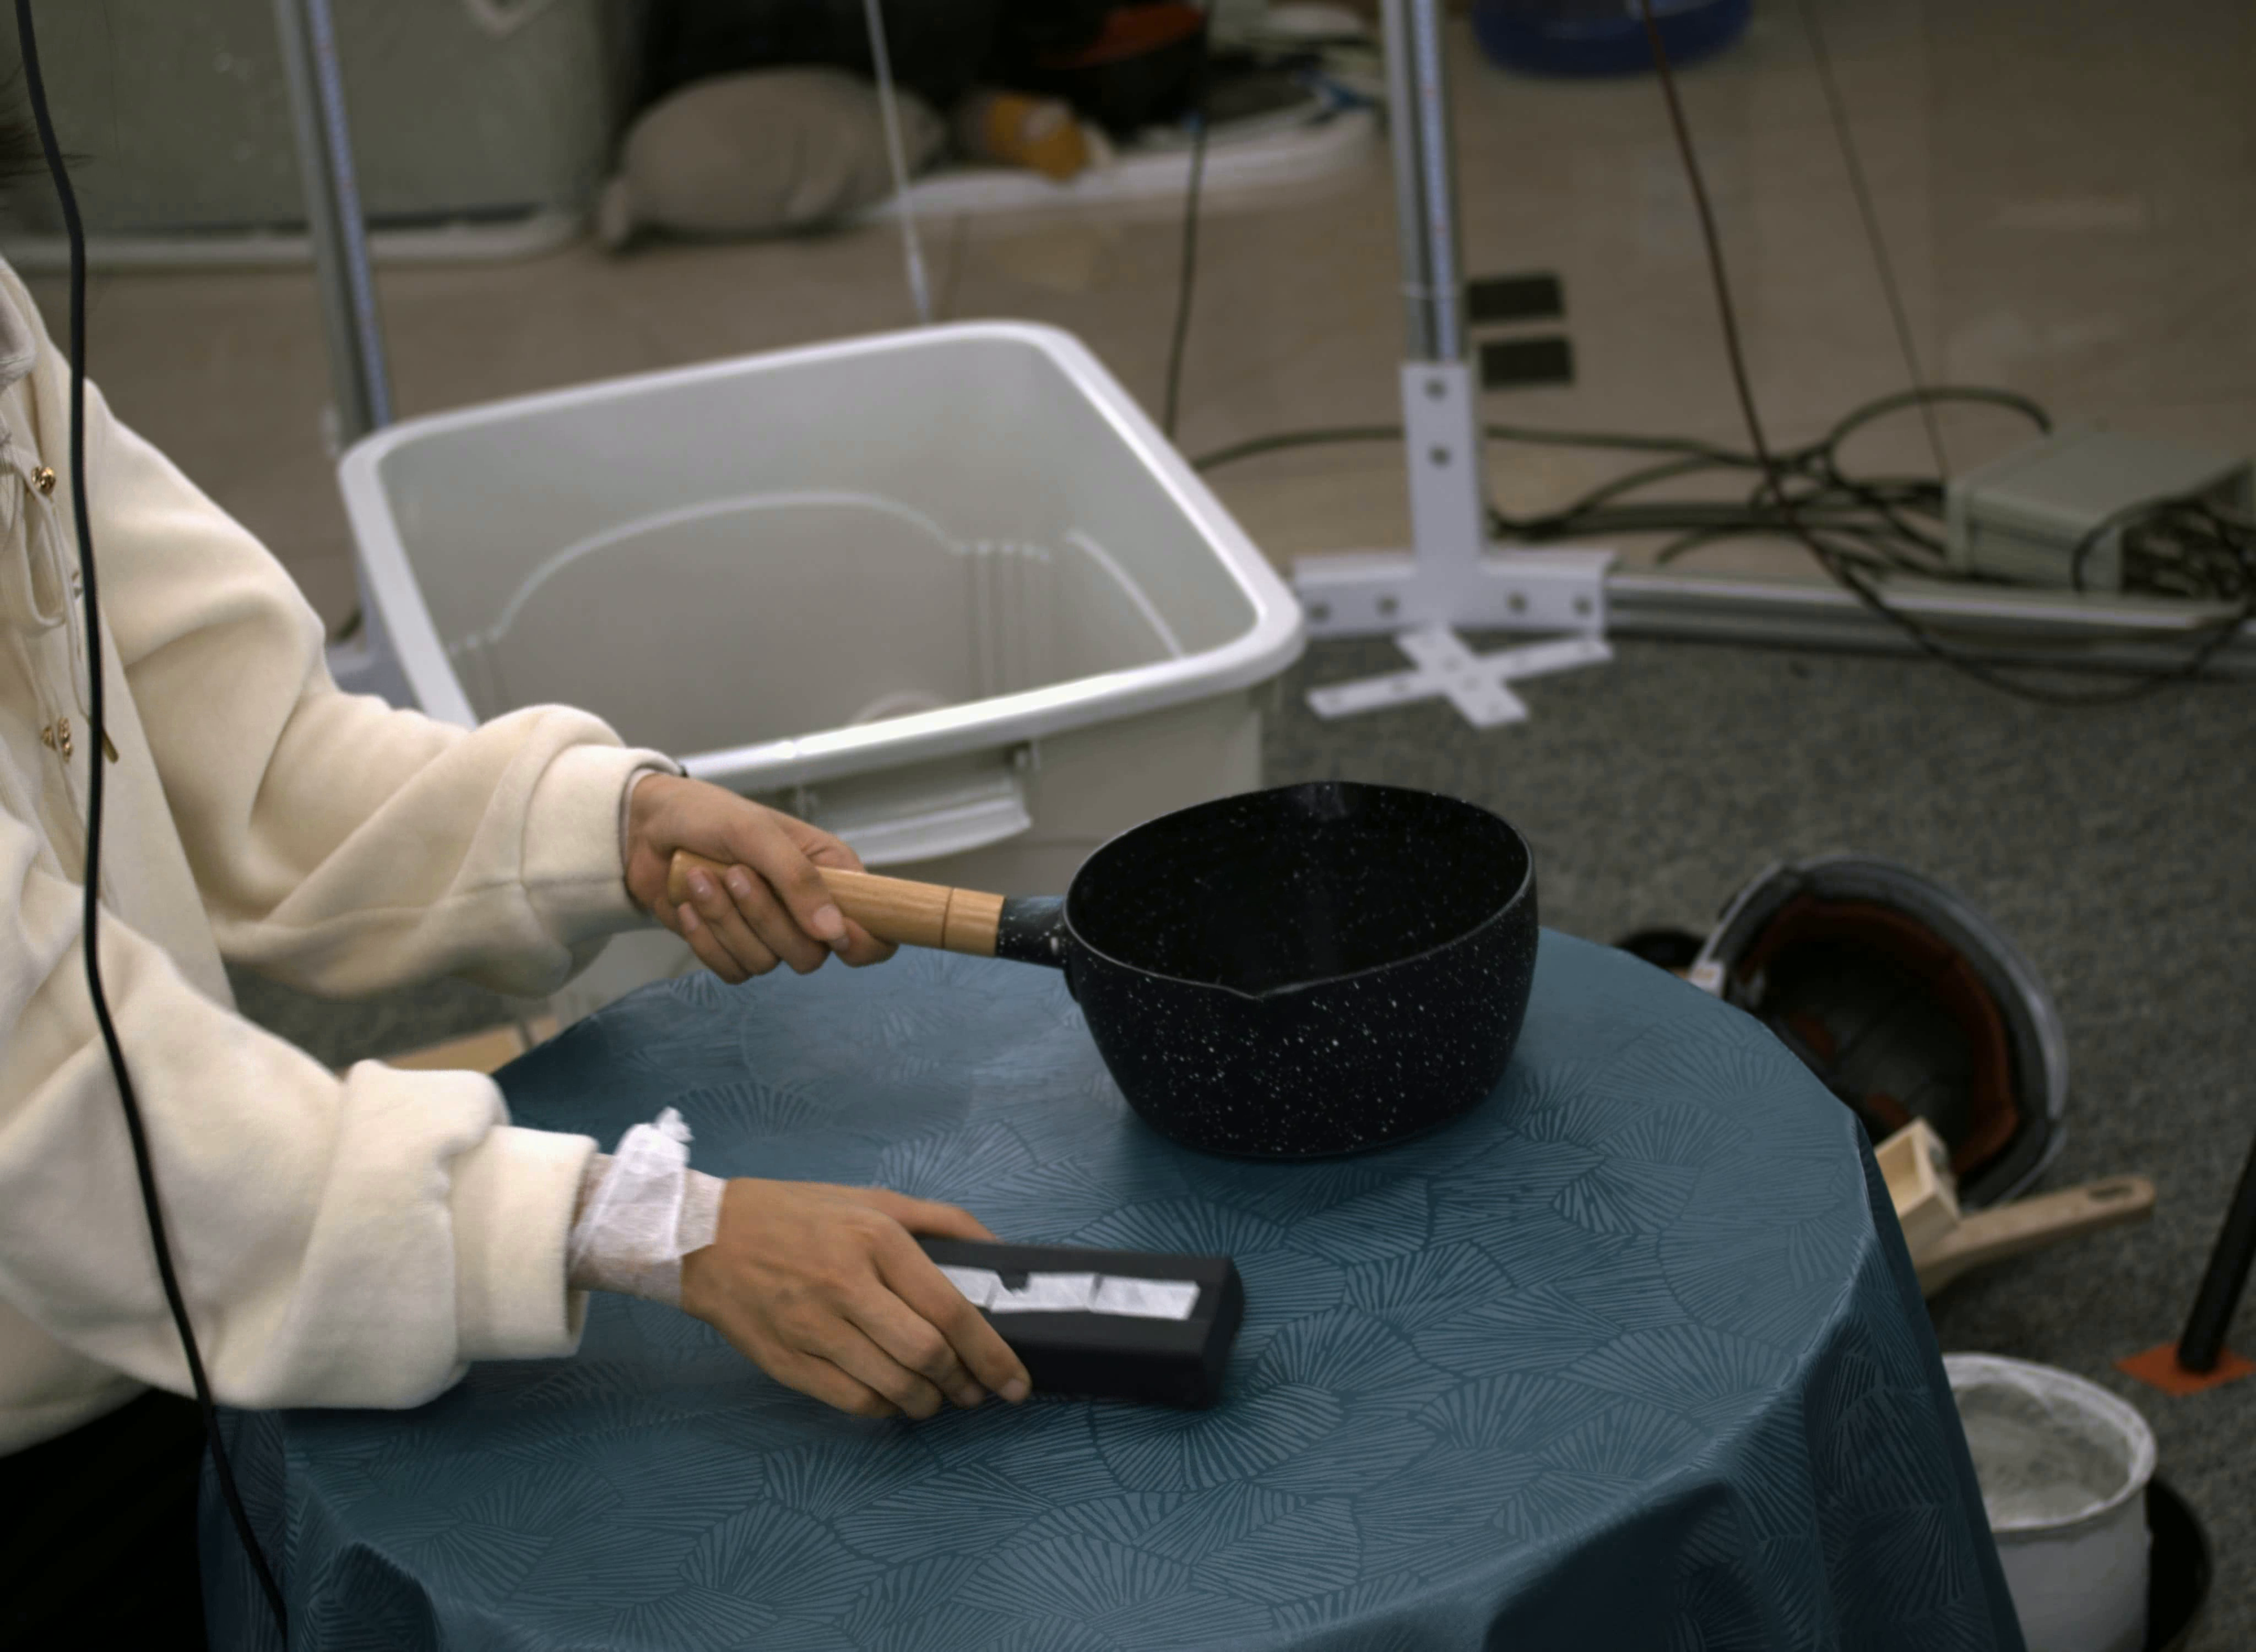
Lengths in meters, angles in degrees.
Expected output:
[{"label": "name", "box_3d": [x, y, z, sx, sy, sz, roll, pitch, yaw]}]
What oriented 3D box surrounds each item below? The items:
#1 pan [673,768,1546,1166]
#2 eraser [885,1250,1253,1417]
[{"label": "pan", "box_3d": [-0.008, 0.051, 2.206, 0.342, 0.110, 0.204, -1, 26, 9]}, {"label": "eraser", "box_3d": [-0.020, 0.180, 2.018, 0.125, 0.031, 0.052, 3, 40, 18]}]
